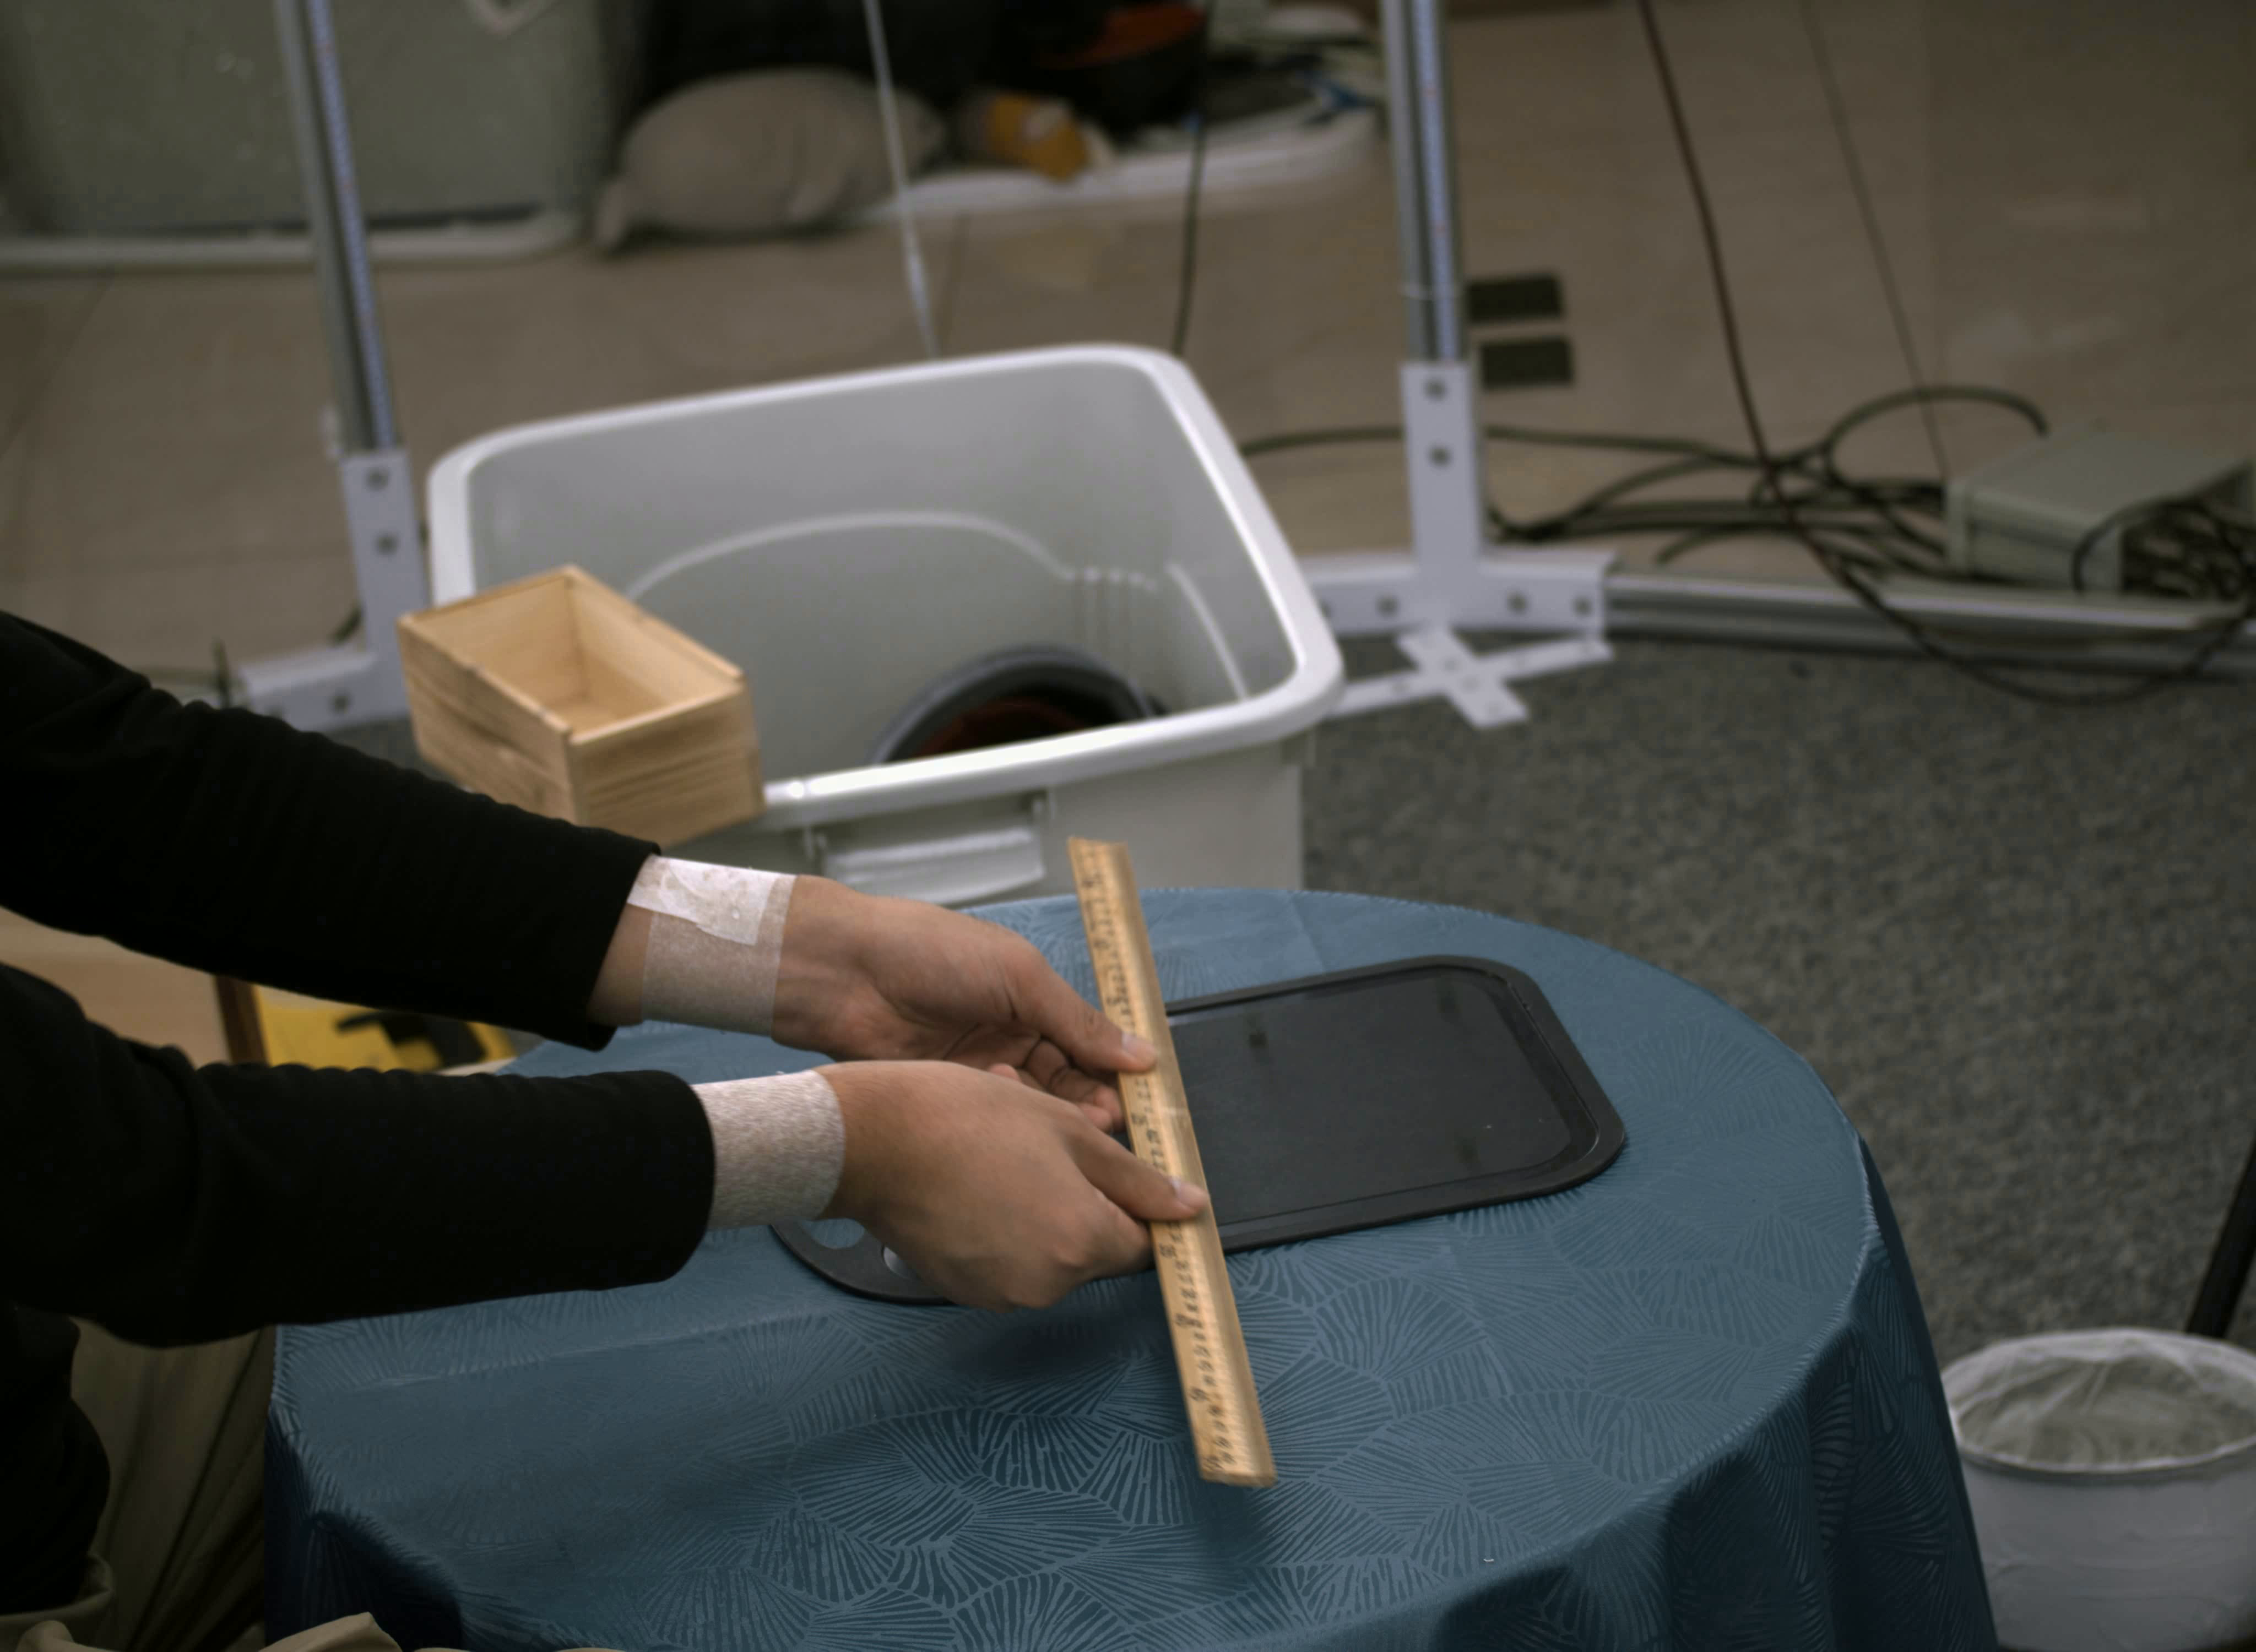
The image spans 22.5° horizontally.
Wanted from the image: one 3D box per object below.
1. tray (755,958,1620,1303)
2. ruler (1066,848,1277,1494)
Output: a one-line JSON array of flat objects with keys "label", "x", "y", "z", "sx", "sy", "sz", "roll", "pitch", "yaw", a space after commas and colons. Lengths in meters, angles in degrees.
[{"label": "tray", "x": 0.018, "y": 0.115, "z": 2.188, "sx": 0.325, "sy": 0.010, "sz": 0.208, "roll": -10, "pitch": 25, "yaw": -6}, {"label": "ruler", "x": 0.011, "y": 0.116, "z": 2.114, "sx": 0.027, "sy": 0.006, "sz": 0.493, "roll": 7, "pitch": 24, "yaw": -10}]
